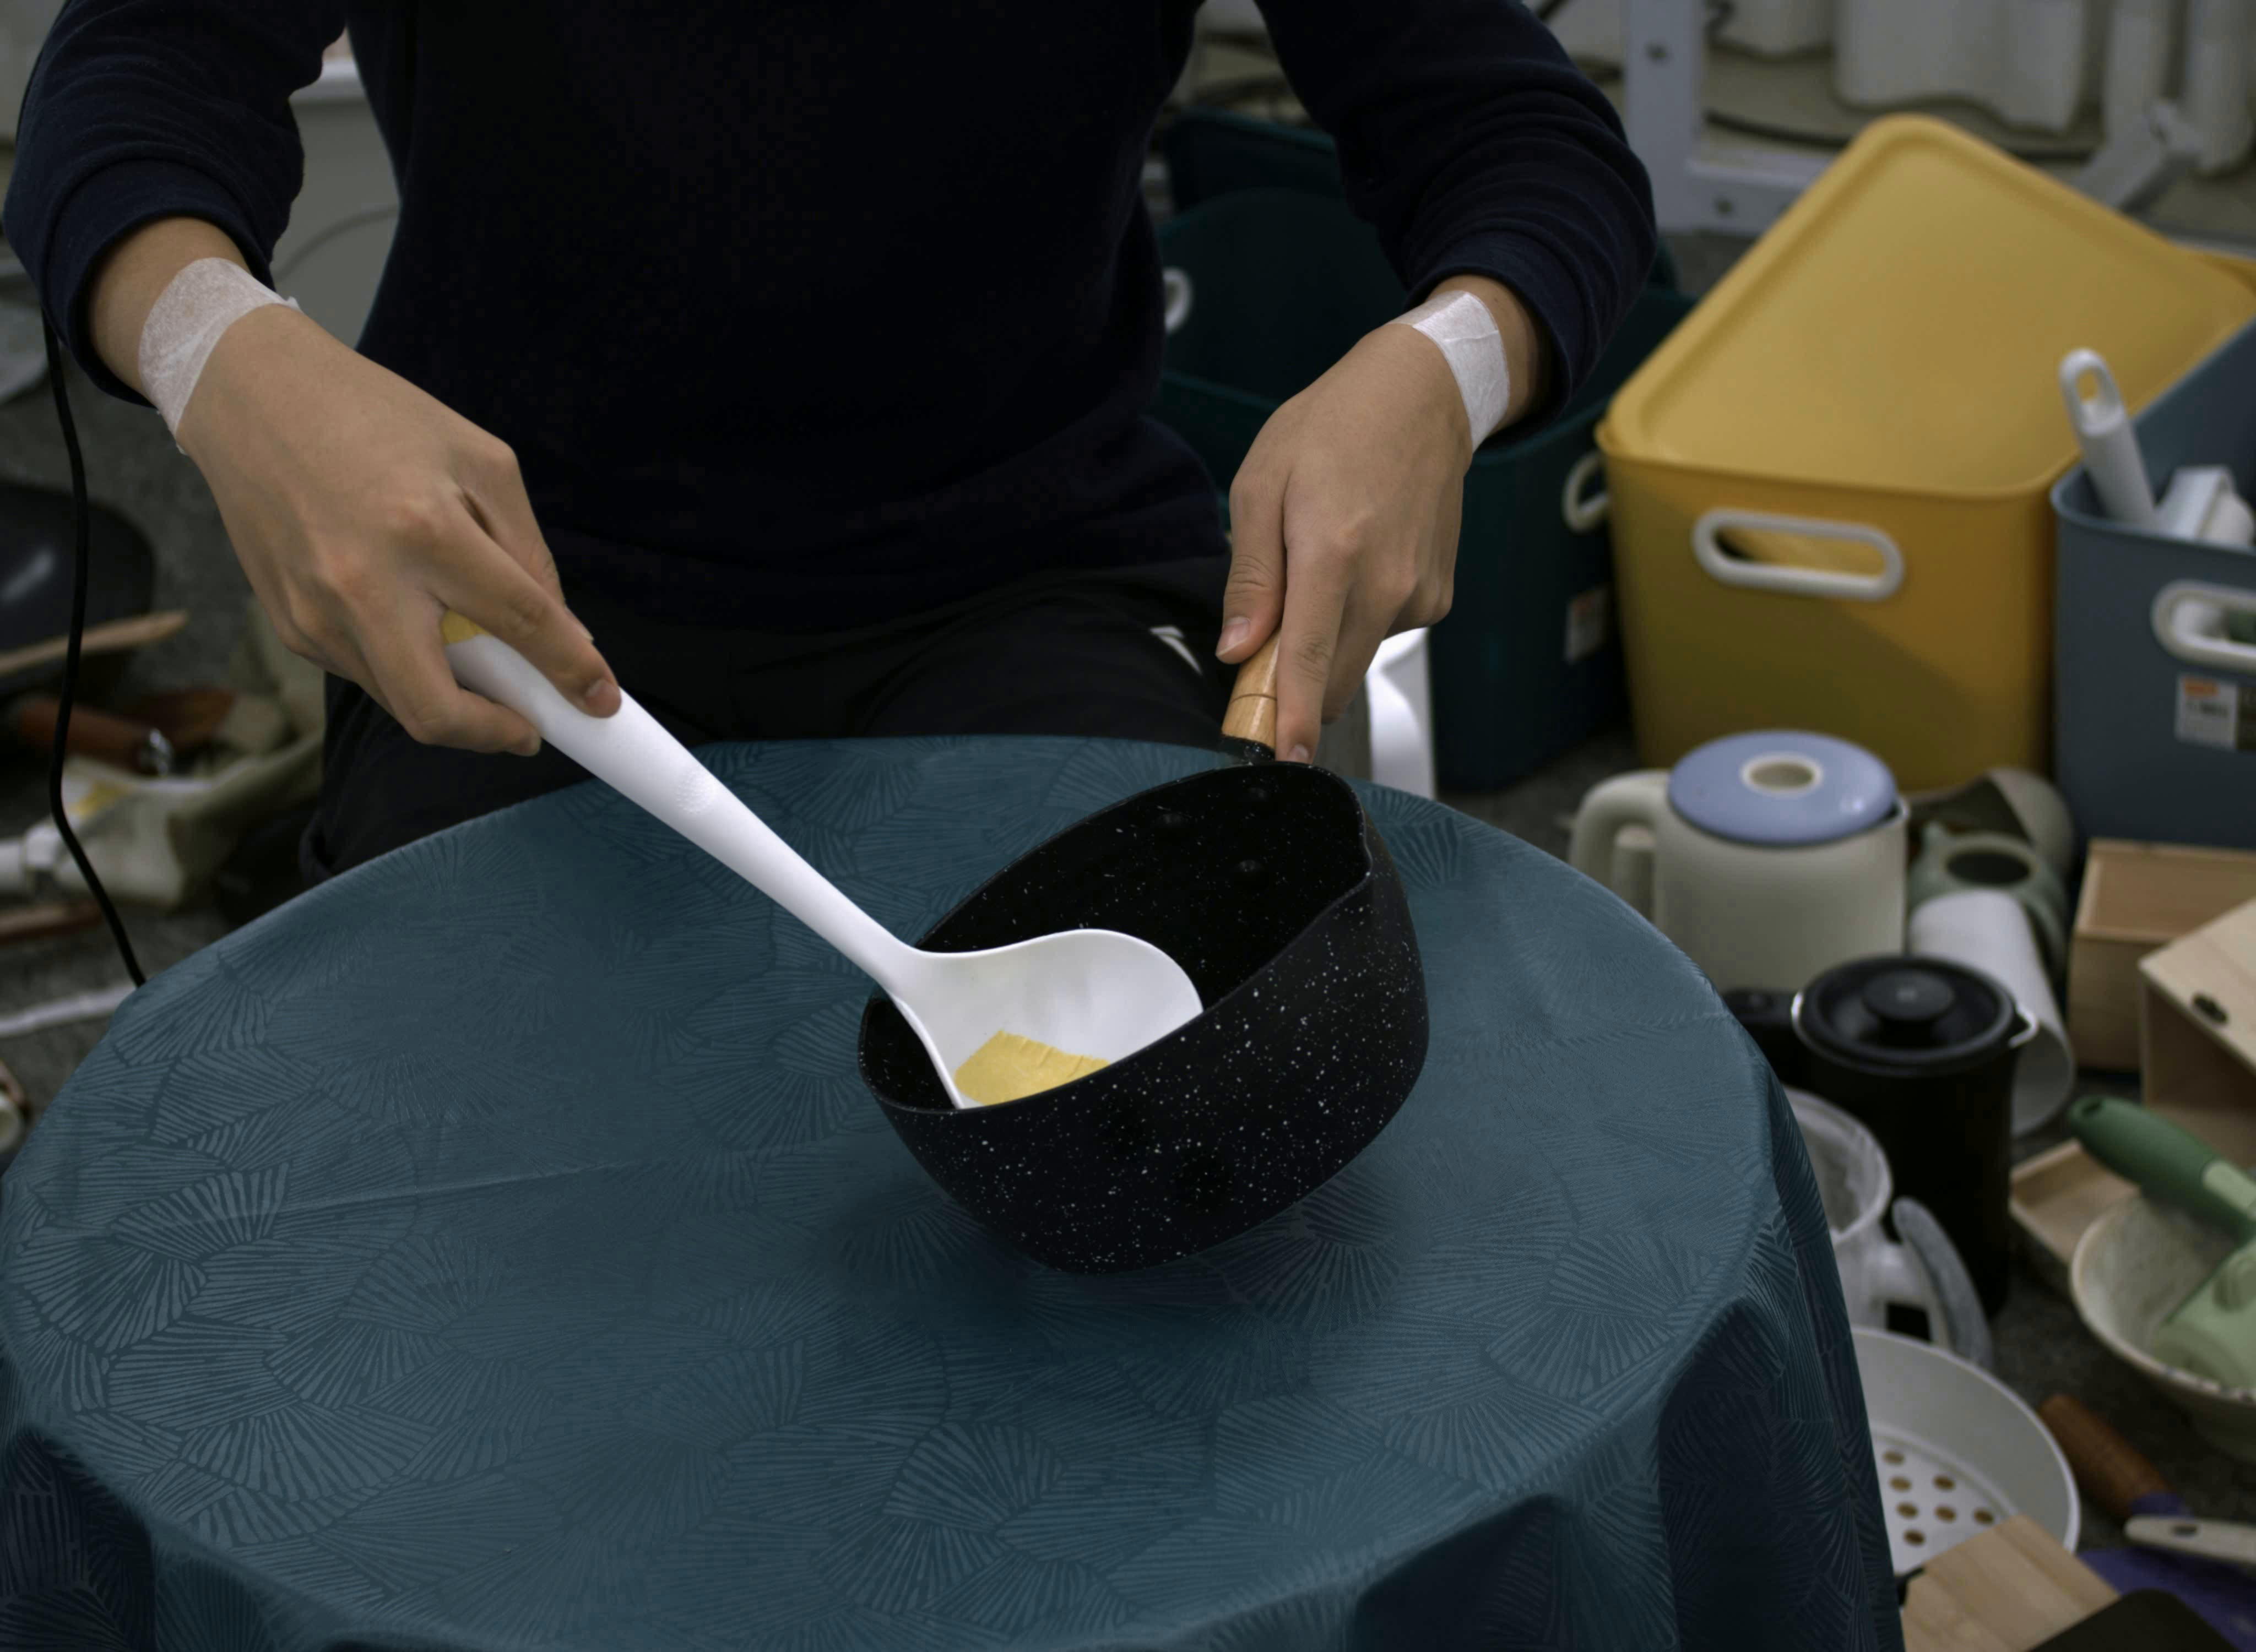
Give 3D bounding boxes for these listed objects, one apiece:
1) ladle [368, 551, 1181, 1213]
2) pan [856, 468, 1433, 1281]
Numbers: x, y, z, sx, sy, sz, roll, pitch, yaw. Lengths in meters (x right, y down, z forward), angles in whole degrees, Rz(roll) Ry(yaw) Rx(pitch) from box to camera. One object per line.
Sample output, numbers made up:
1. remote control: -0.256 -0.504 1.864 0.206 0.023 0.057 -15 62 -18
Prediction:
1. ladle: -0.106 0.013 1.735 0.069 0.291 0.091 -7 48 59
2. pan: 0.033 0.013 1.880 0.205 0.107 0.349 -16 27 31
